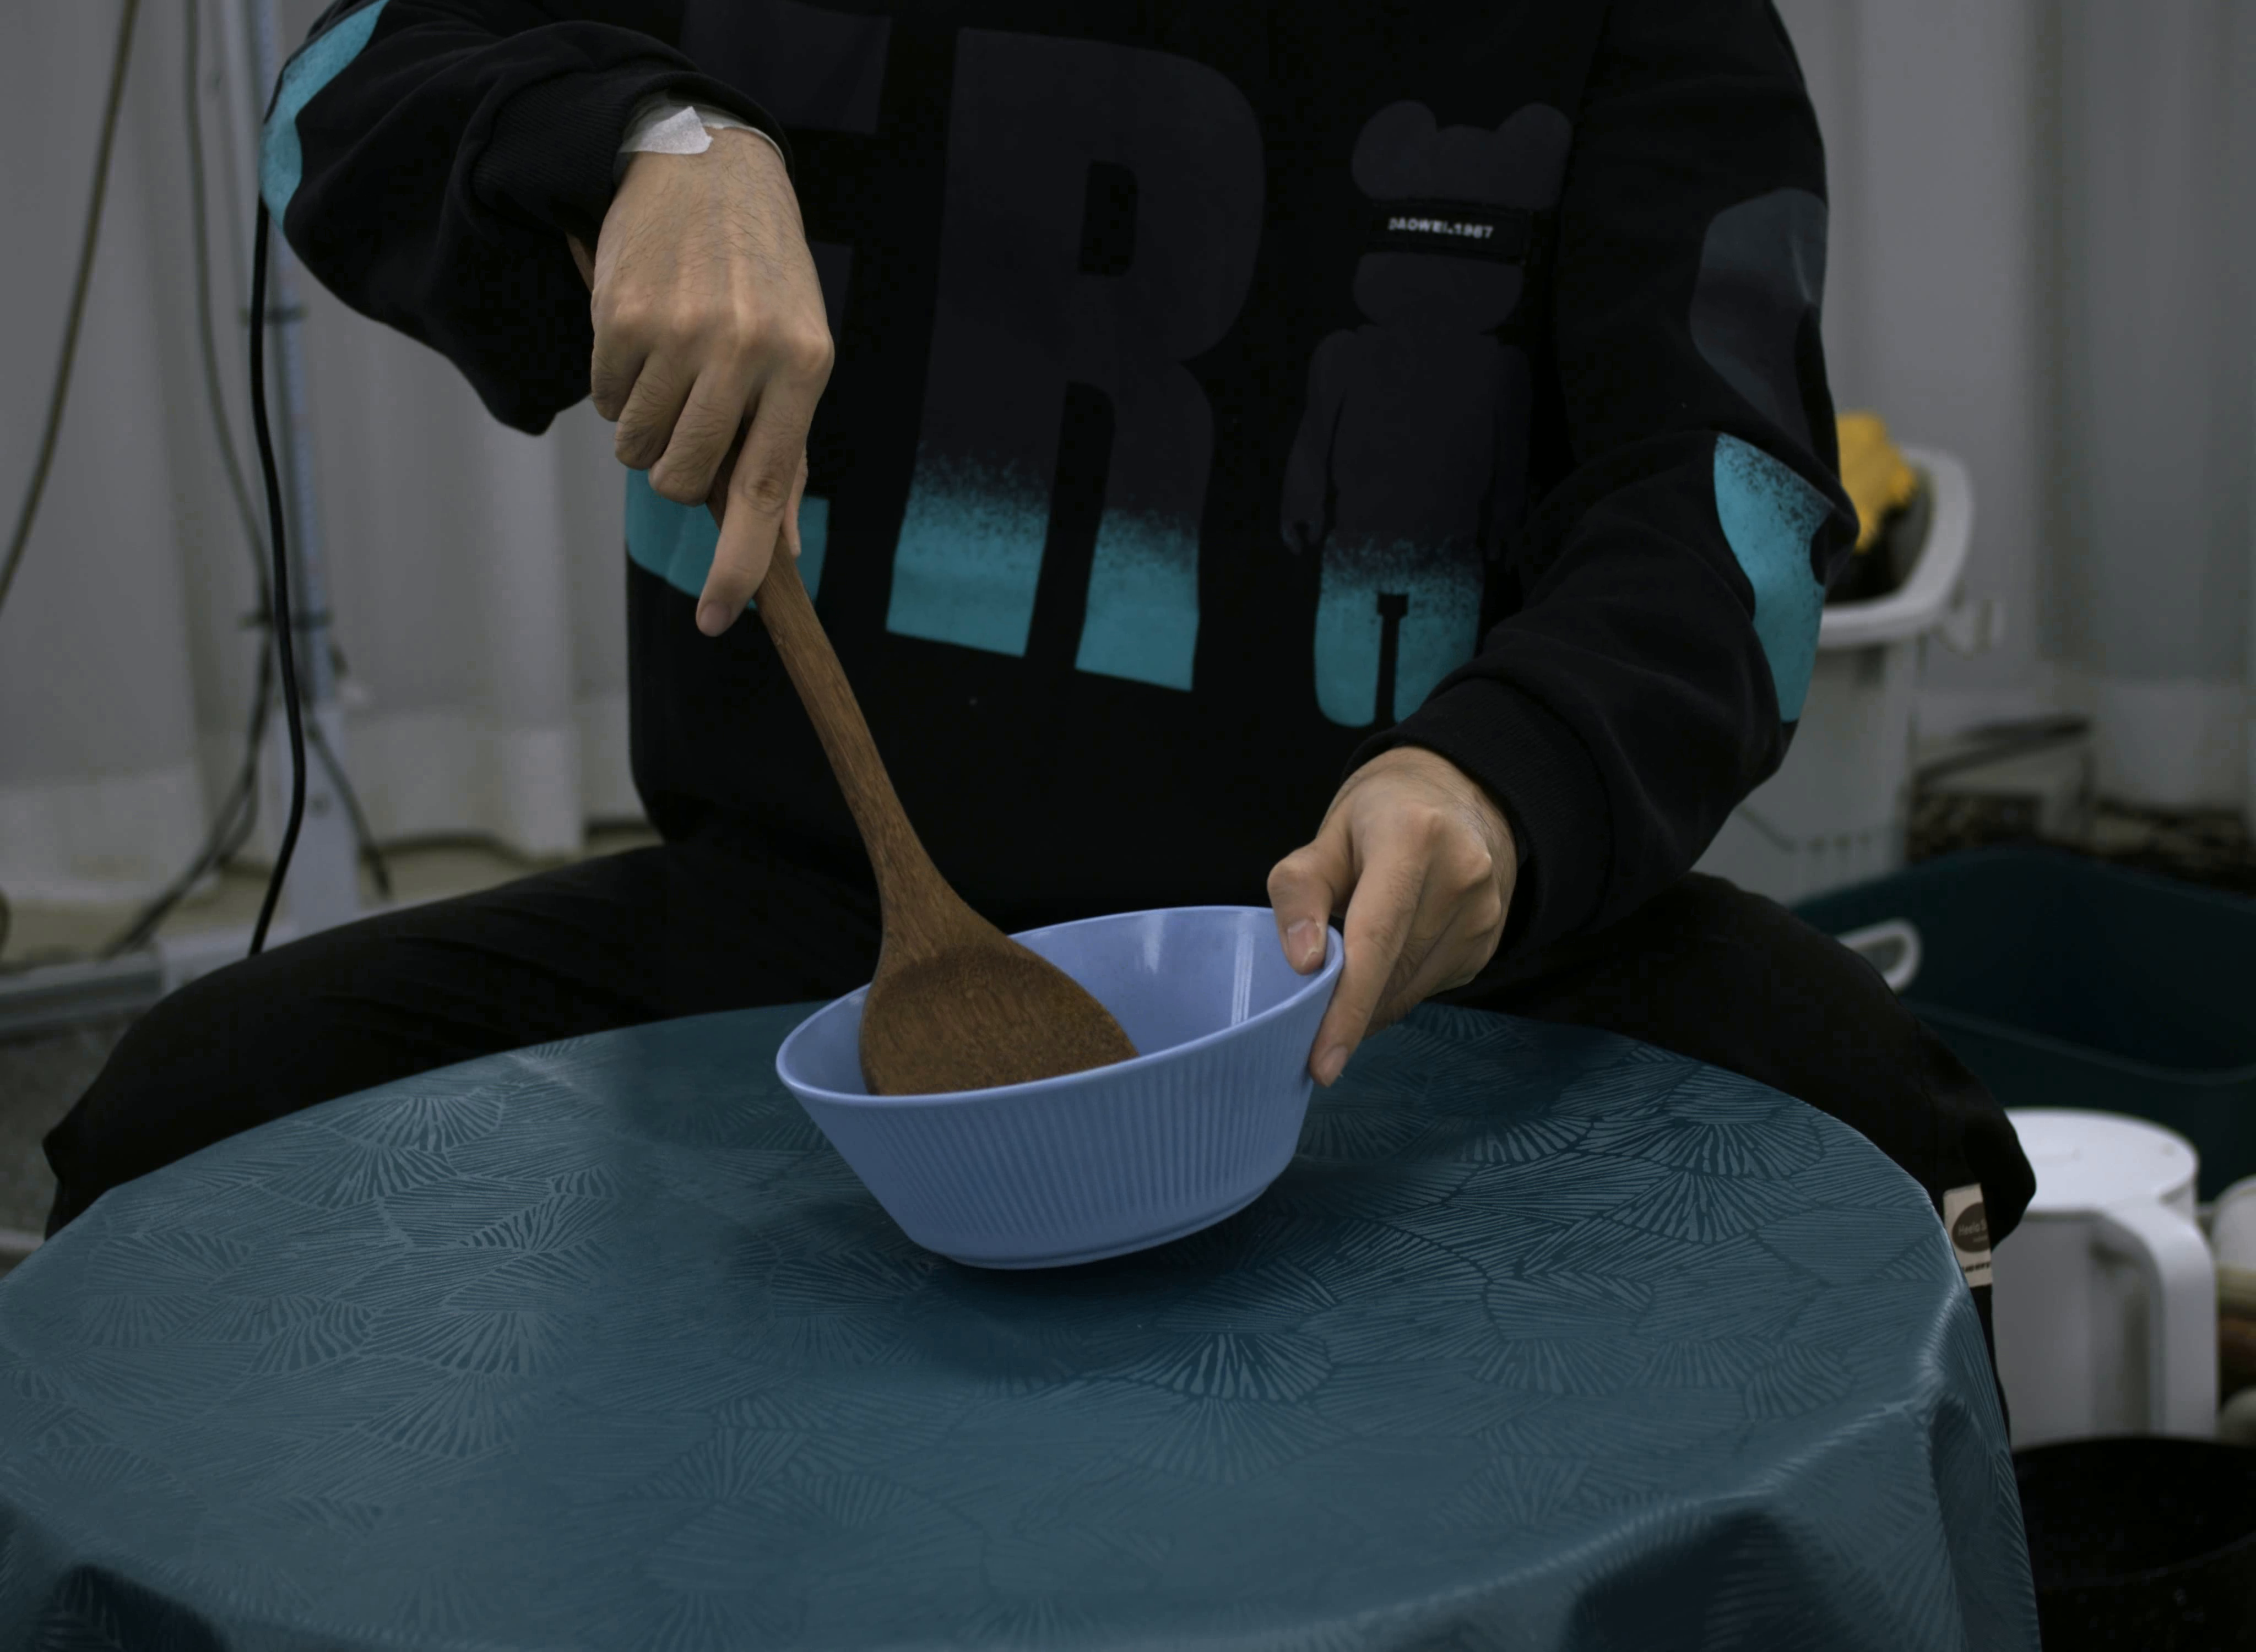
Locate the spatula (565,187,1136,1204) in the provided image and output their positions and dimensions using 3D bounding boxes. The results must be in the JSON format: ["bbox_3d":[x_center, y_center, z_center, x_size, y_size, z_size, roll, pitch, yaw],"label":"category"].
[{"bbox_3d":[-0.097,-0.047,1.713,0.096,0.390,0.015,-10,-27,-34],"label":"spatula"}]

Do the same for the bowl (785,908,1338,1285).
[{"bbox_3d":[-0.012,0.087,1.662,0.175,0.070,0.177,-15,13,3],"label":"bowl"}]
